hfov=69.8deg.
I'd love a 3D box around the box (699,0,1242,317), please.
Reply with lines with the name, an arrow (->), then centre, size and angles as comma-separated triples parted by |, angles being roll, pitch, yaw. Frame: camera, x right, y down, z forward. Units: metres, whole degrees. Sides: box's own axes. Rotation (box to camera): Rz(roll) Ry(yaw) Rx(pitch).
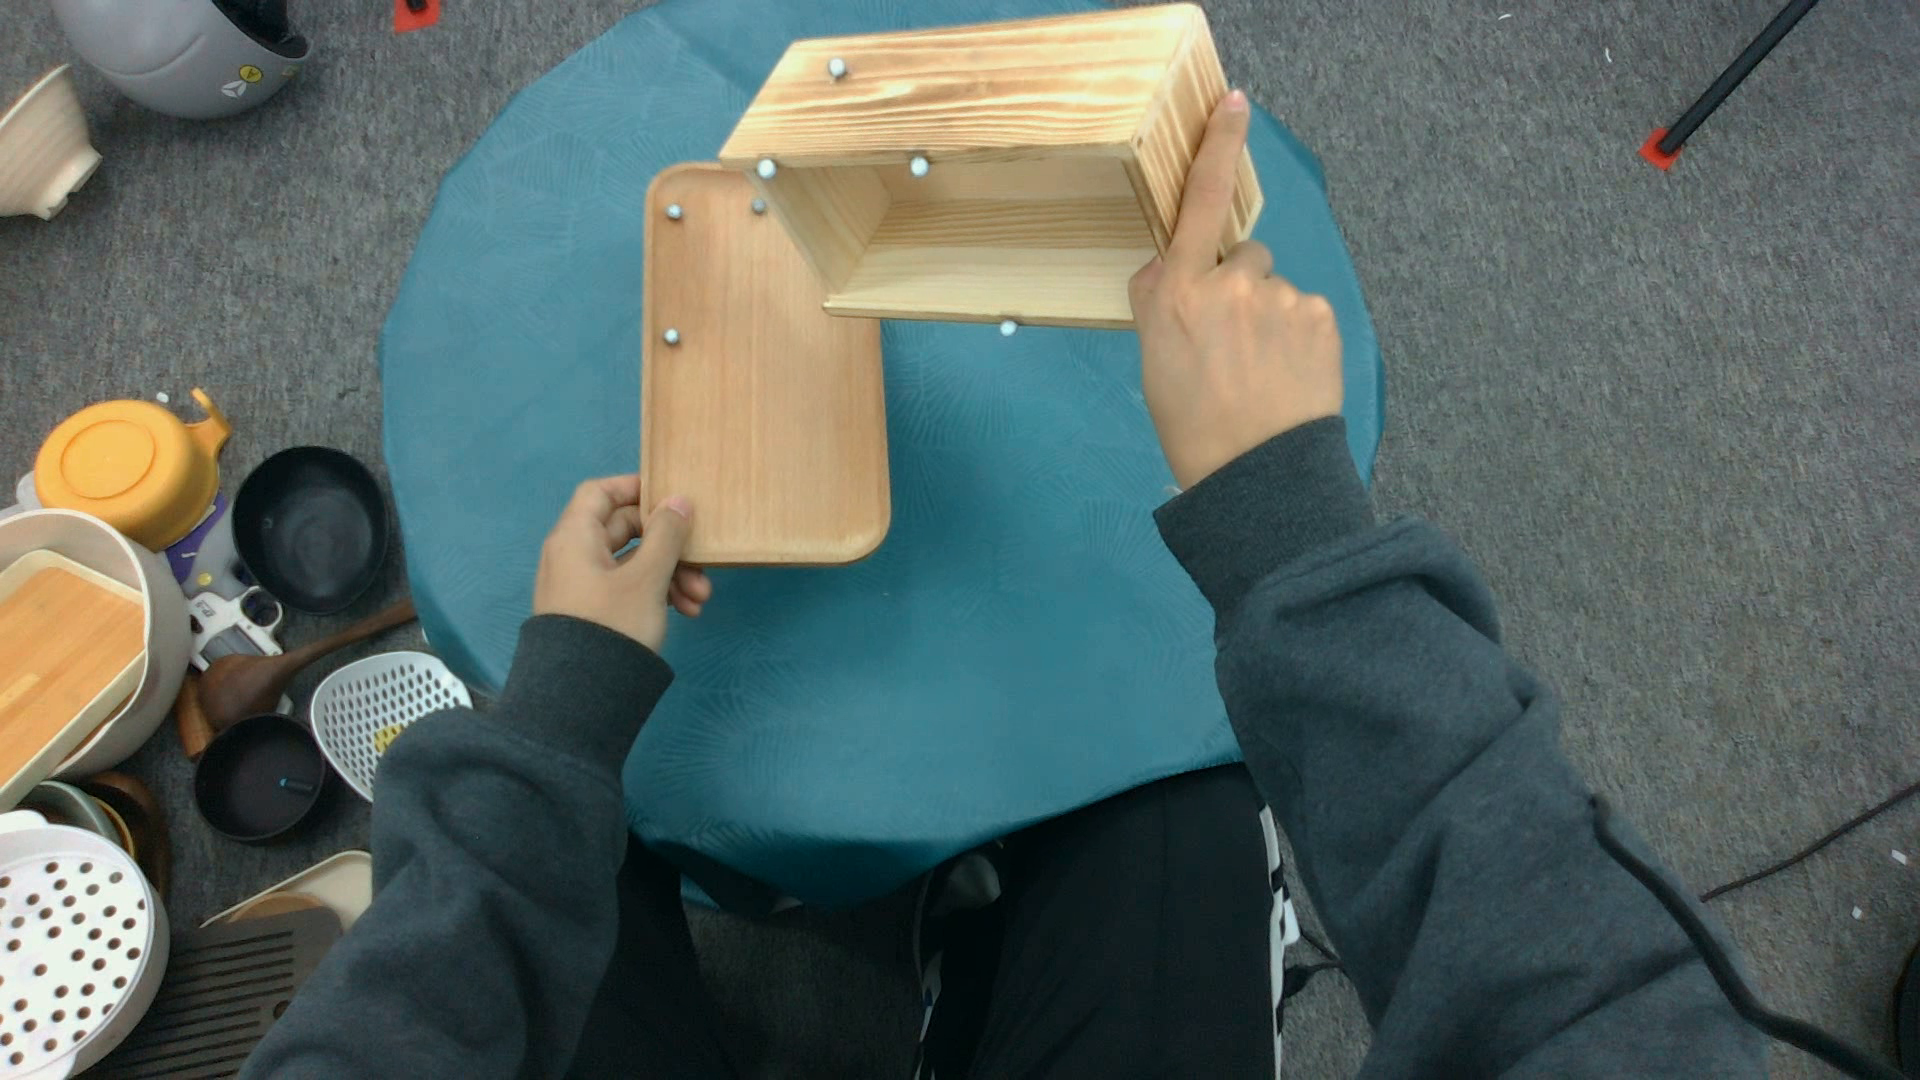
box -> 0.005, -0.169, 0.619 | 0.211, 0.107, 0.080 | 8, 60, 33

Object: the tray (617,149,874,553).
tray -> -0.117, -0.107, 0.741 | 0.130, 0.023, 0.251 | -1, 65, -9
